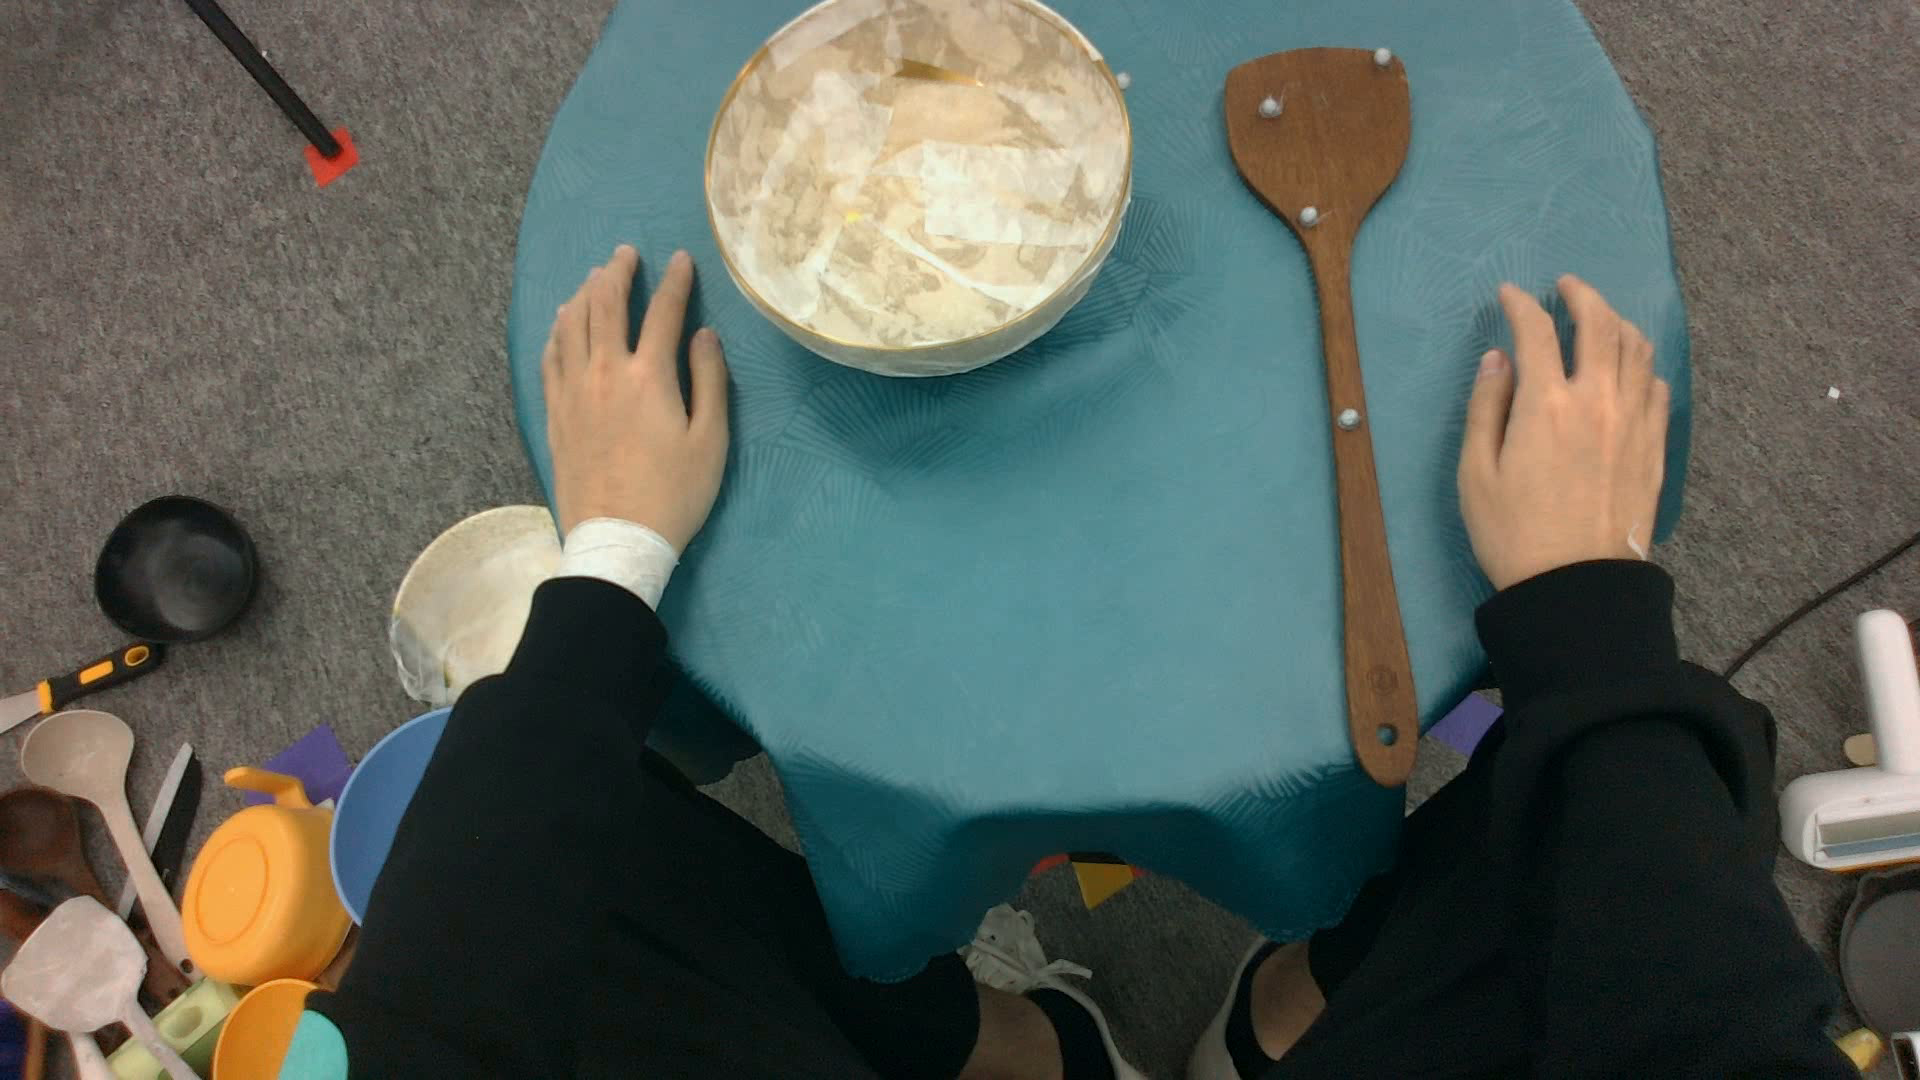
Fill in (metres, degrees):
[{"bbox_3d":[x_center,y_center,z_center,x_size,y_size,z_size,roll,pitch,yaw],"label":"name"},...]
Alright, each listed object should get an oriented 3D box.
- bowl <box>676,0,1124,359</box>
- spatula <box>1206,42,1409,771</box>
[{"bbox_3d":[-0.027,-0.168,0.677,0.214,0.094,0.215,-1,71,3],"label":"bowl"},{"bbox_3d":[0.181,-0.081,0.671,0.096,0.016,0.387,-3,70,4],"label":"spatula"}]
